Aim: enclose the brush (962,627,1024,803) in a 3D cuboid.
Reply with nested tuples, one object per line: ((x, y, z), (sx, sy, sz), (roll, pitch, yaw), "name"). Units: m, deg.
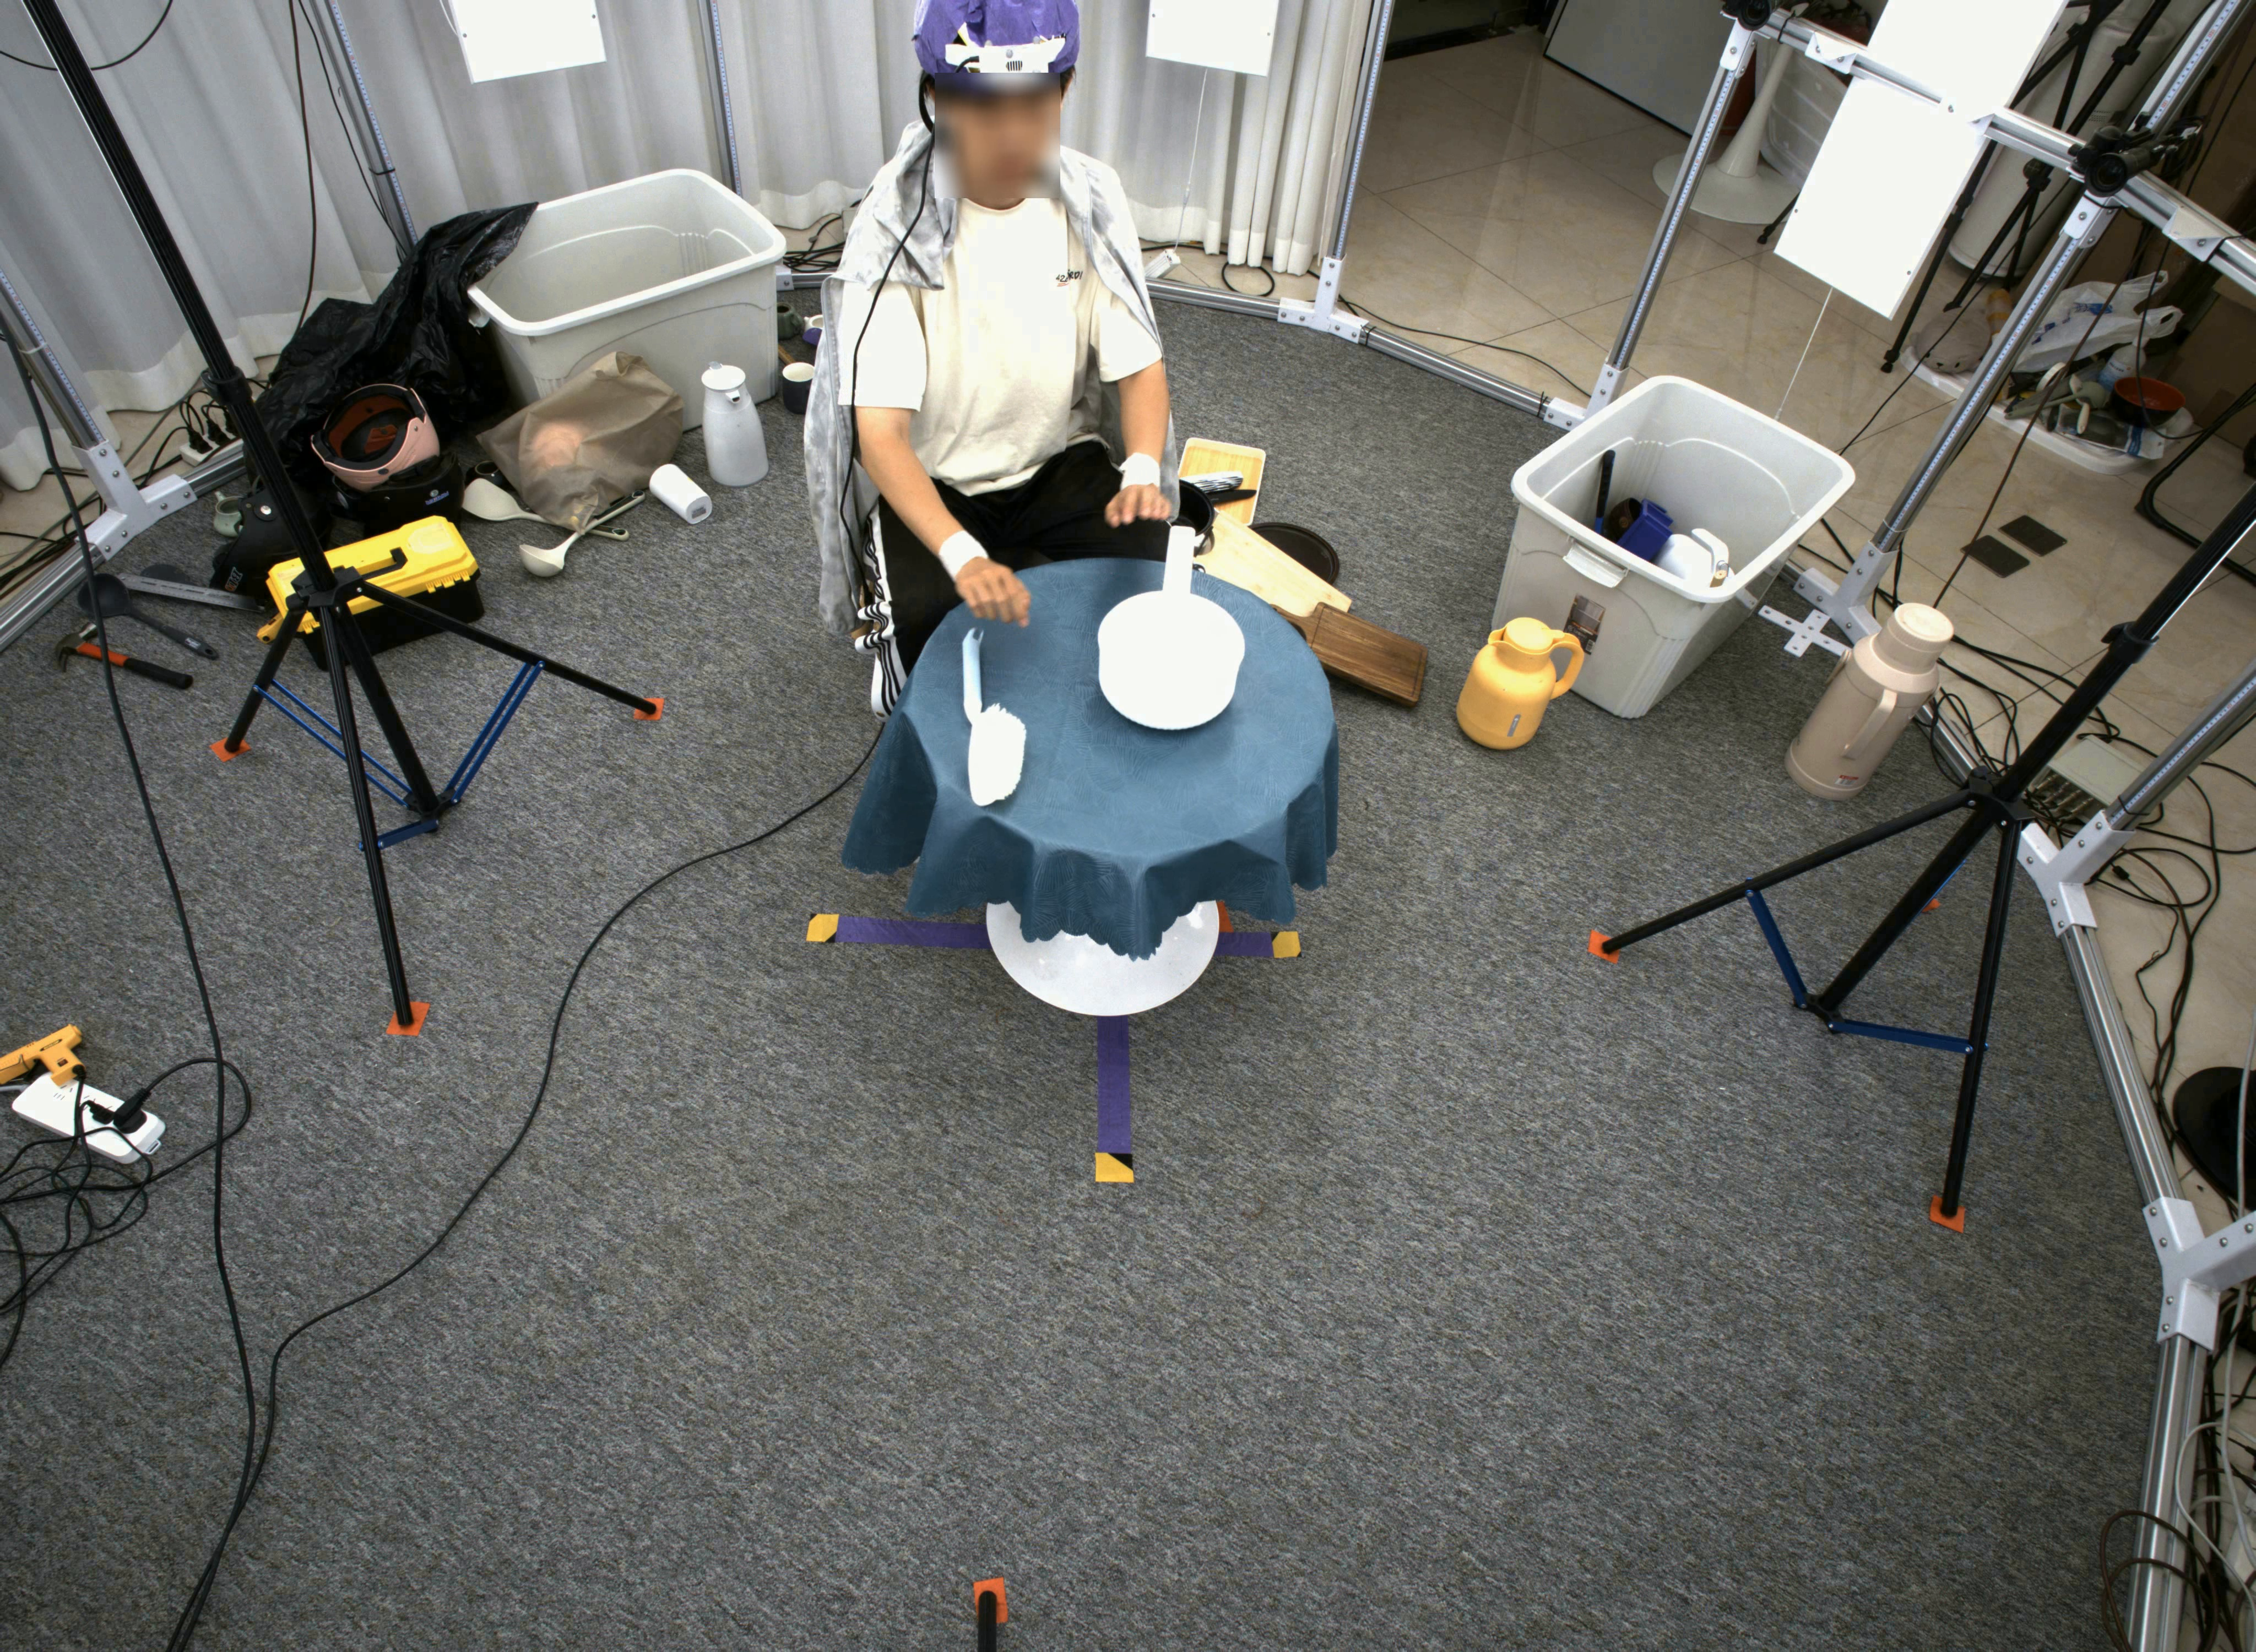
((-0.186, -0.173, 1.745), (0.084, 0.081, 0.334), (-6, 50, 0), "brush")

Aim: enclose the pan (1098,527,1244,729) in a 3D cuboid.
((0.064, -0.286, 1.850), (0.201, 0.099, 0.363), (6, 48, 2), "pan")
